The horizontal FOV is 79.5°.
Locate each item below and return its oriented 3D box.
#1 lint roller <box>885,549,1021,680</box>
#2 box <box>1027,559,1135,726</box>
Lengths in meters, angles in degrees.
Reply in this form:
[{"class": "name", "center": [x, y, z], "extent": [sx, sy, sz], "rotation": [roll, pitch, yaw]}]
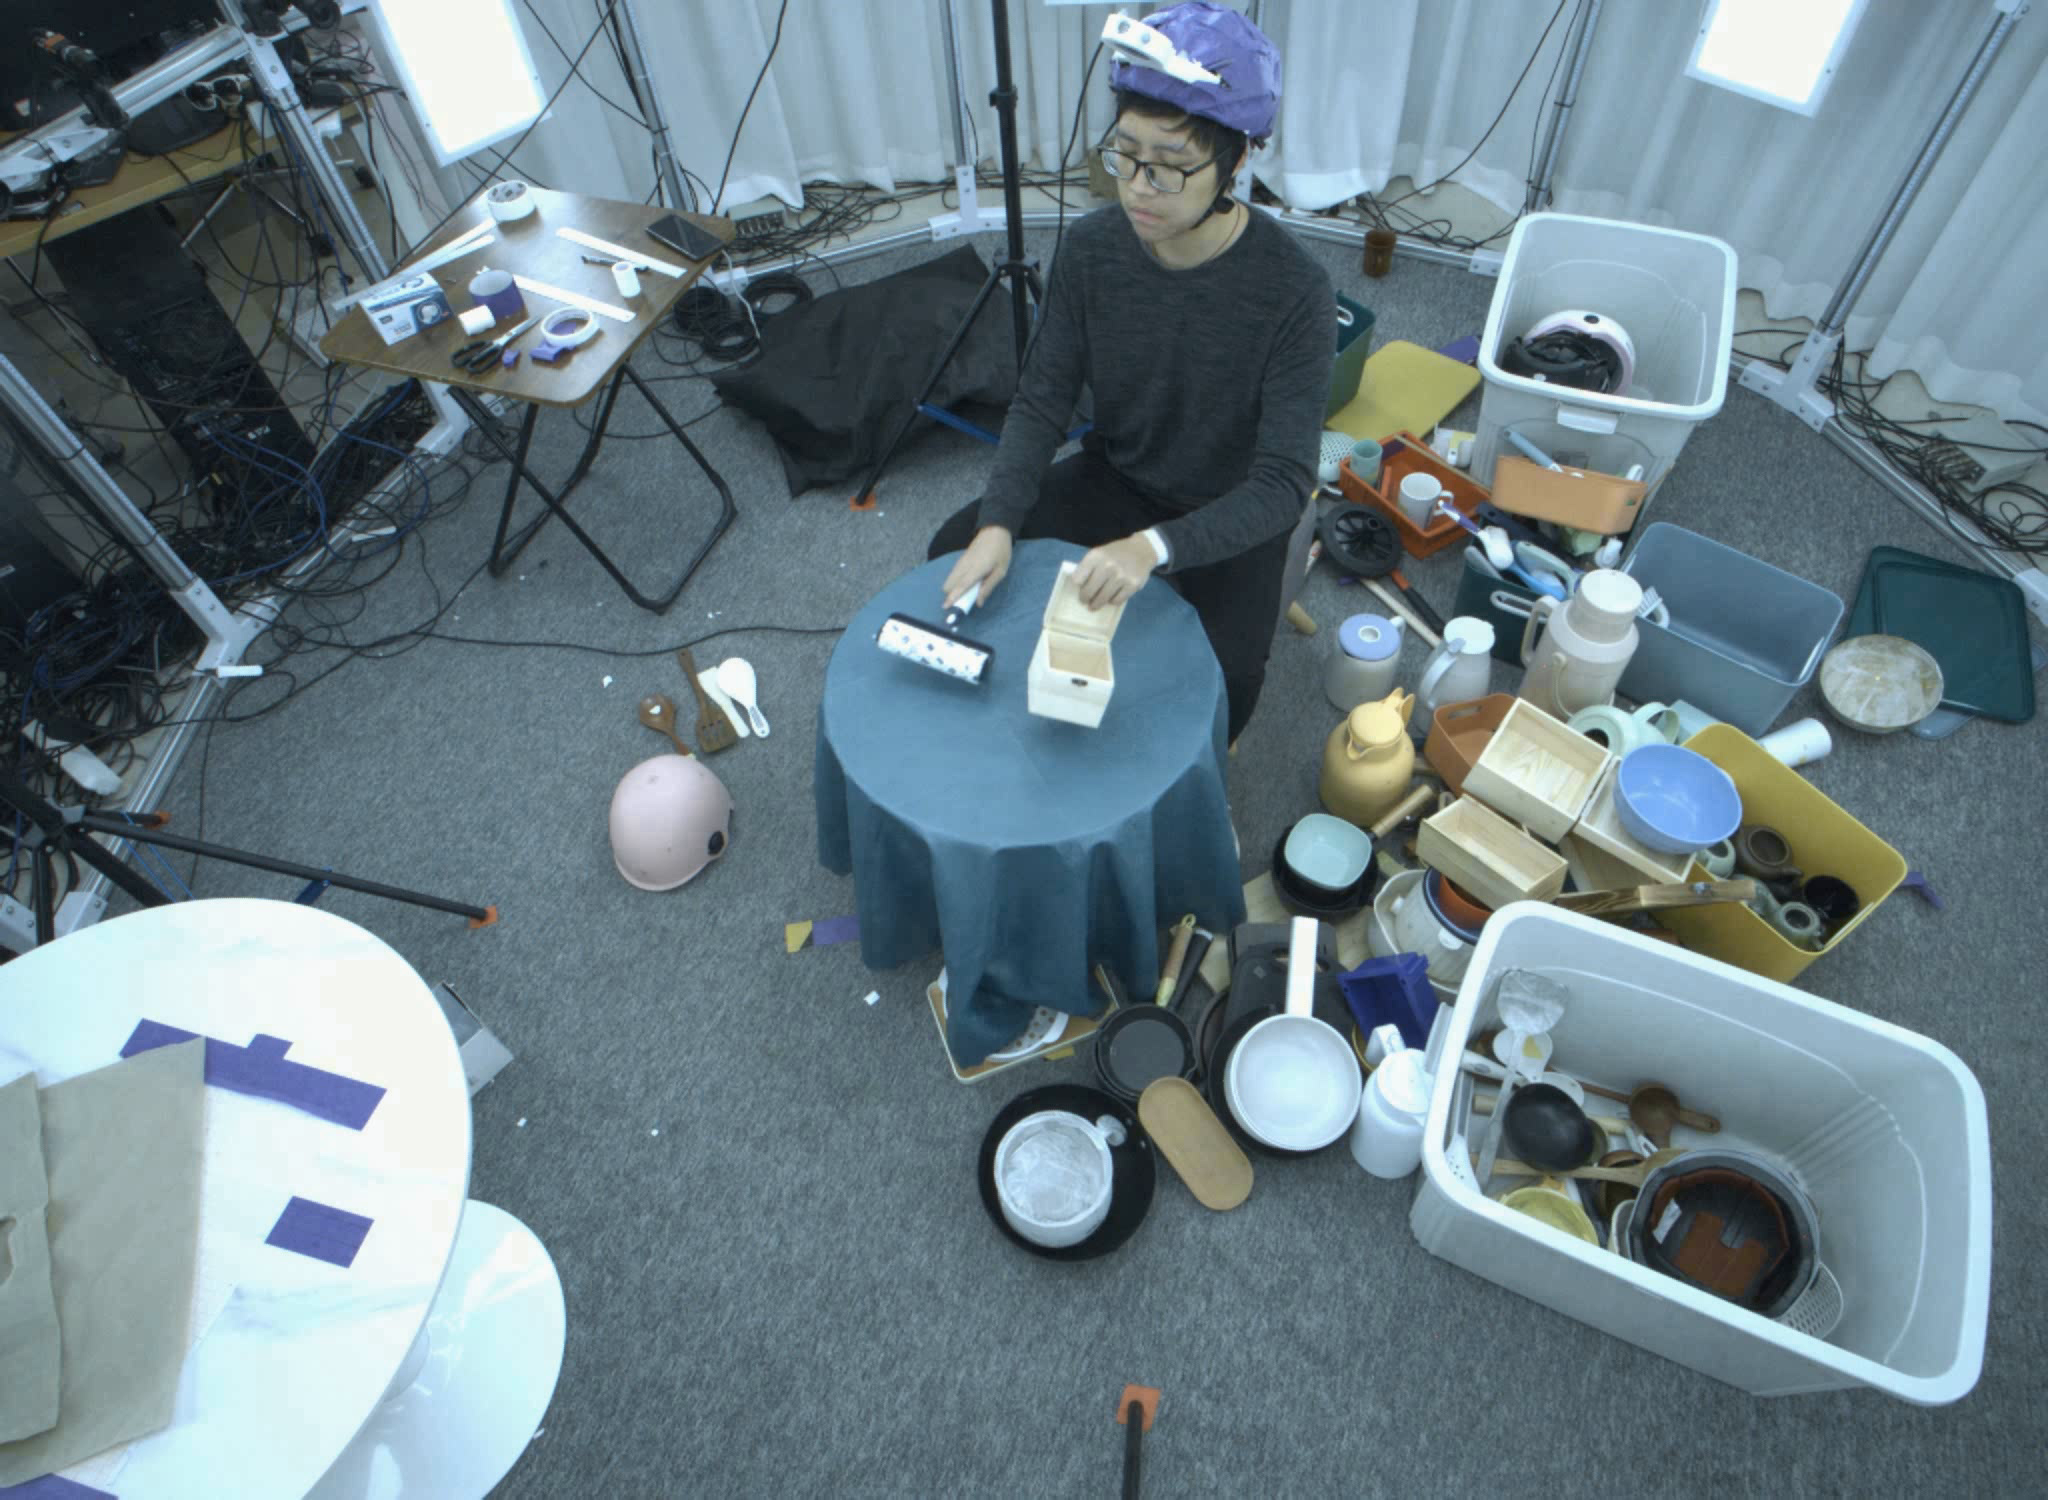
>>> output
[{"class": "lint roller", "center": [-0.077, -0.233, 1.884], "extent": [0.175, 0.050, 0.248], "rotation": [31, 60, 7]}, {"class": "box", "center": [0.079, -0.149, 1.711], "extent": [0.104, 0.184, 0.132], "rotation": [13, 38, -13]}]
